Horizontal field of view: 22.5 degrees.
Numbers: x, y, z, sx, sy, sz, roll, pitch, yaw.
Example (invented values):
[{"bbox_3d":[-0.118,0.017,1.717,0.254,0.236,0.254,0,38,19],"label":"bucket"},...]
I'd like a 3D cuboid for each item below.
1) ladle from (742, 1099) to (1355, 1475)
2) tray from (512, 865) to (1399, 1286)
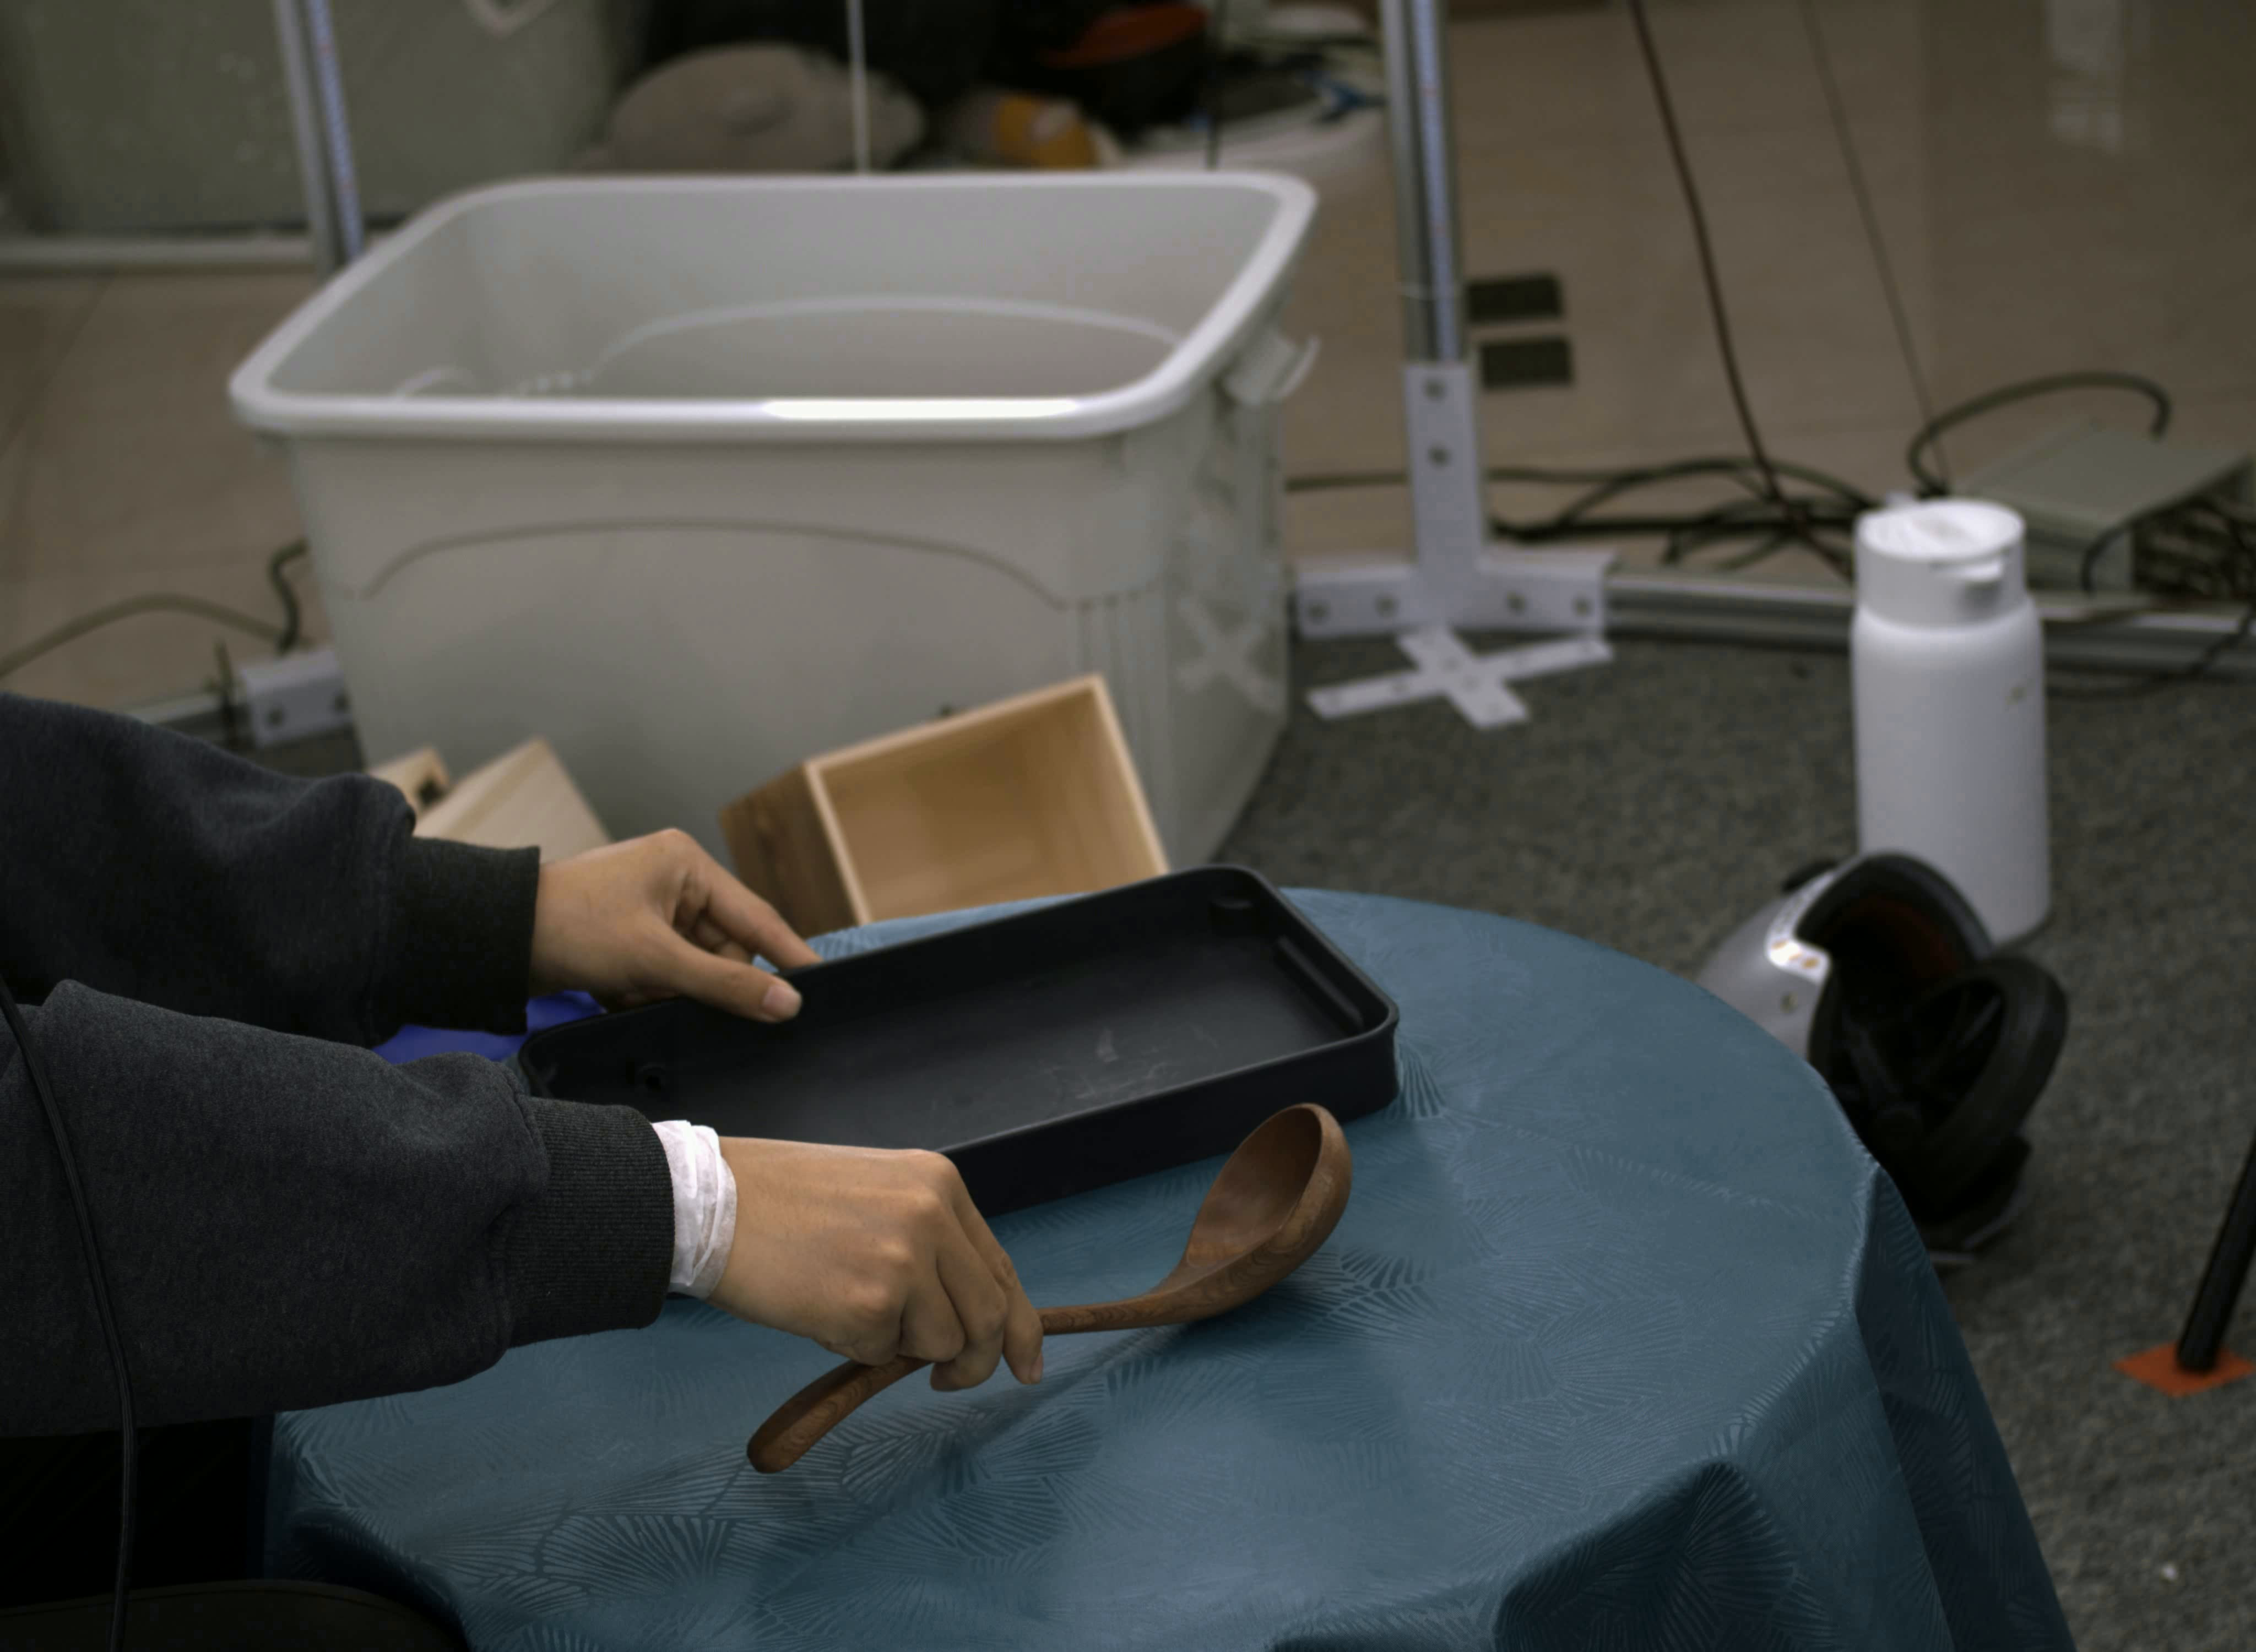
[{"bbox_3d":[-0.030,0.161,2.015,0.259,0.065,0.077,-17,1,-29],"label":"ladle"},{"bbox_3d":[-0.068,0.093,2.212,0.317,0.037,0.182,-13,26,-17],"label":"tray"}]
